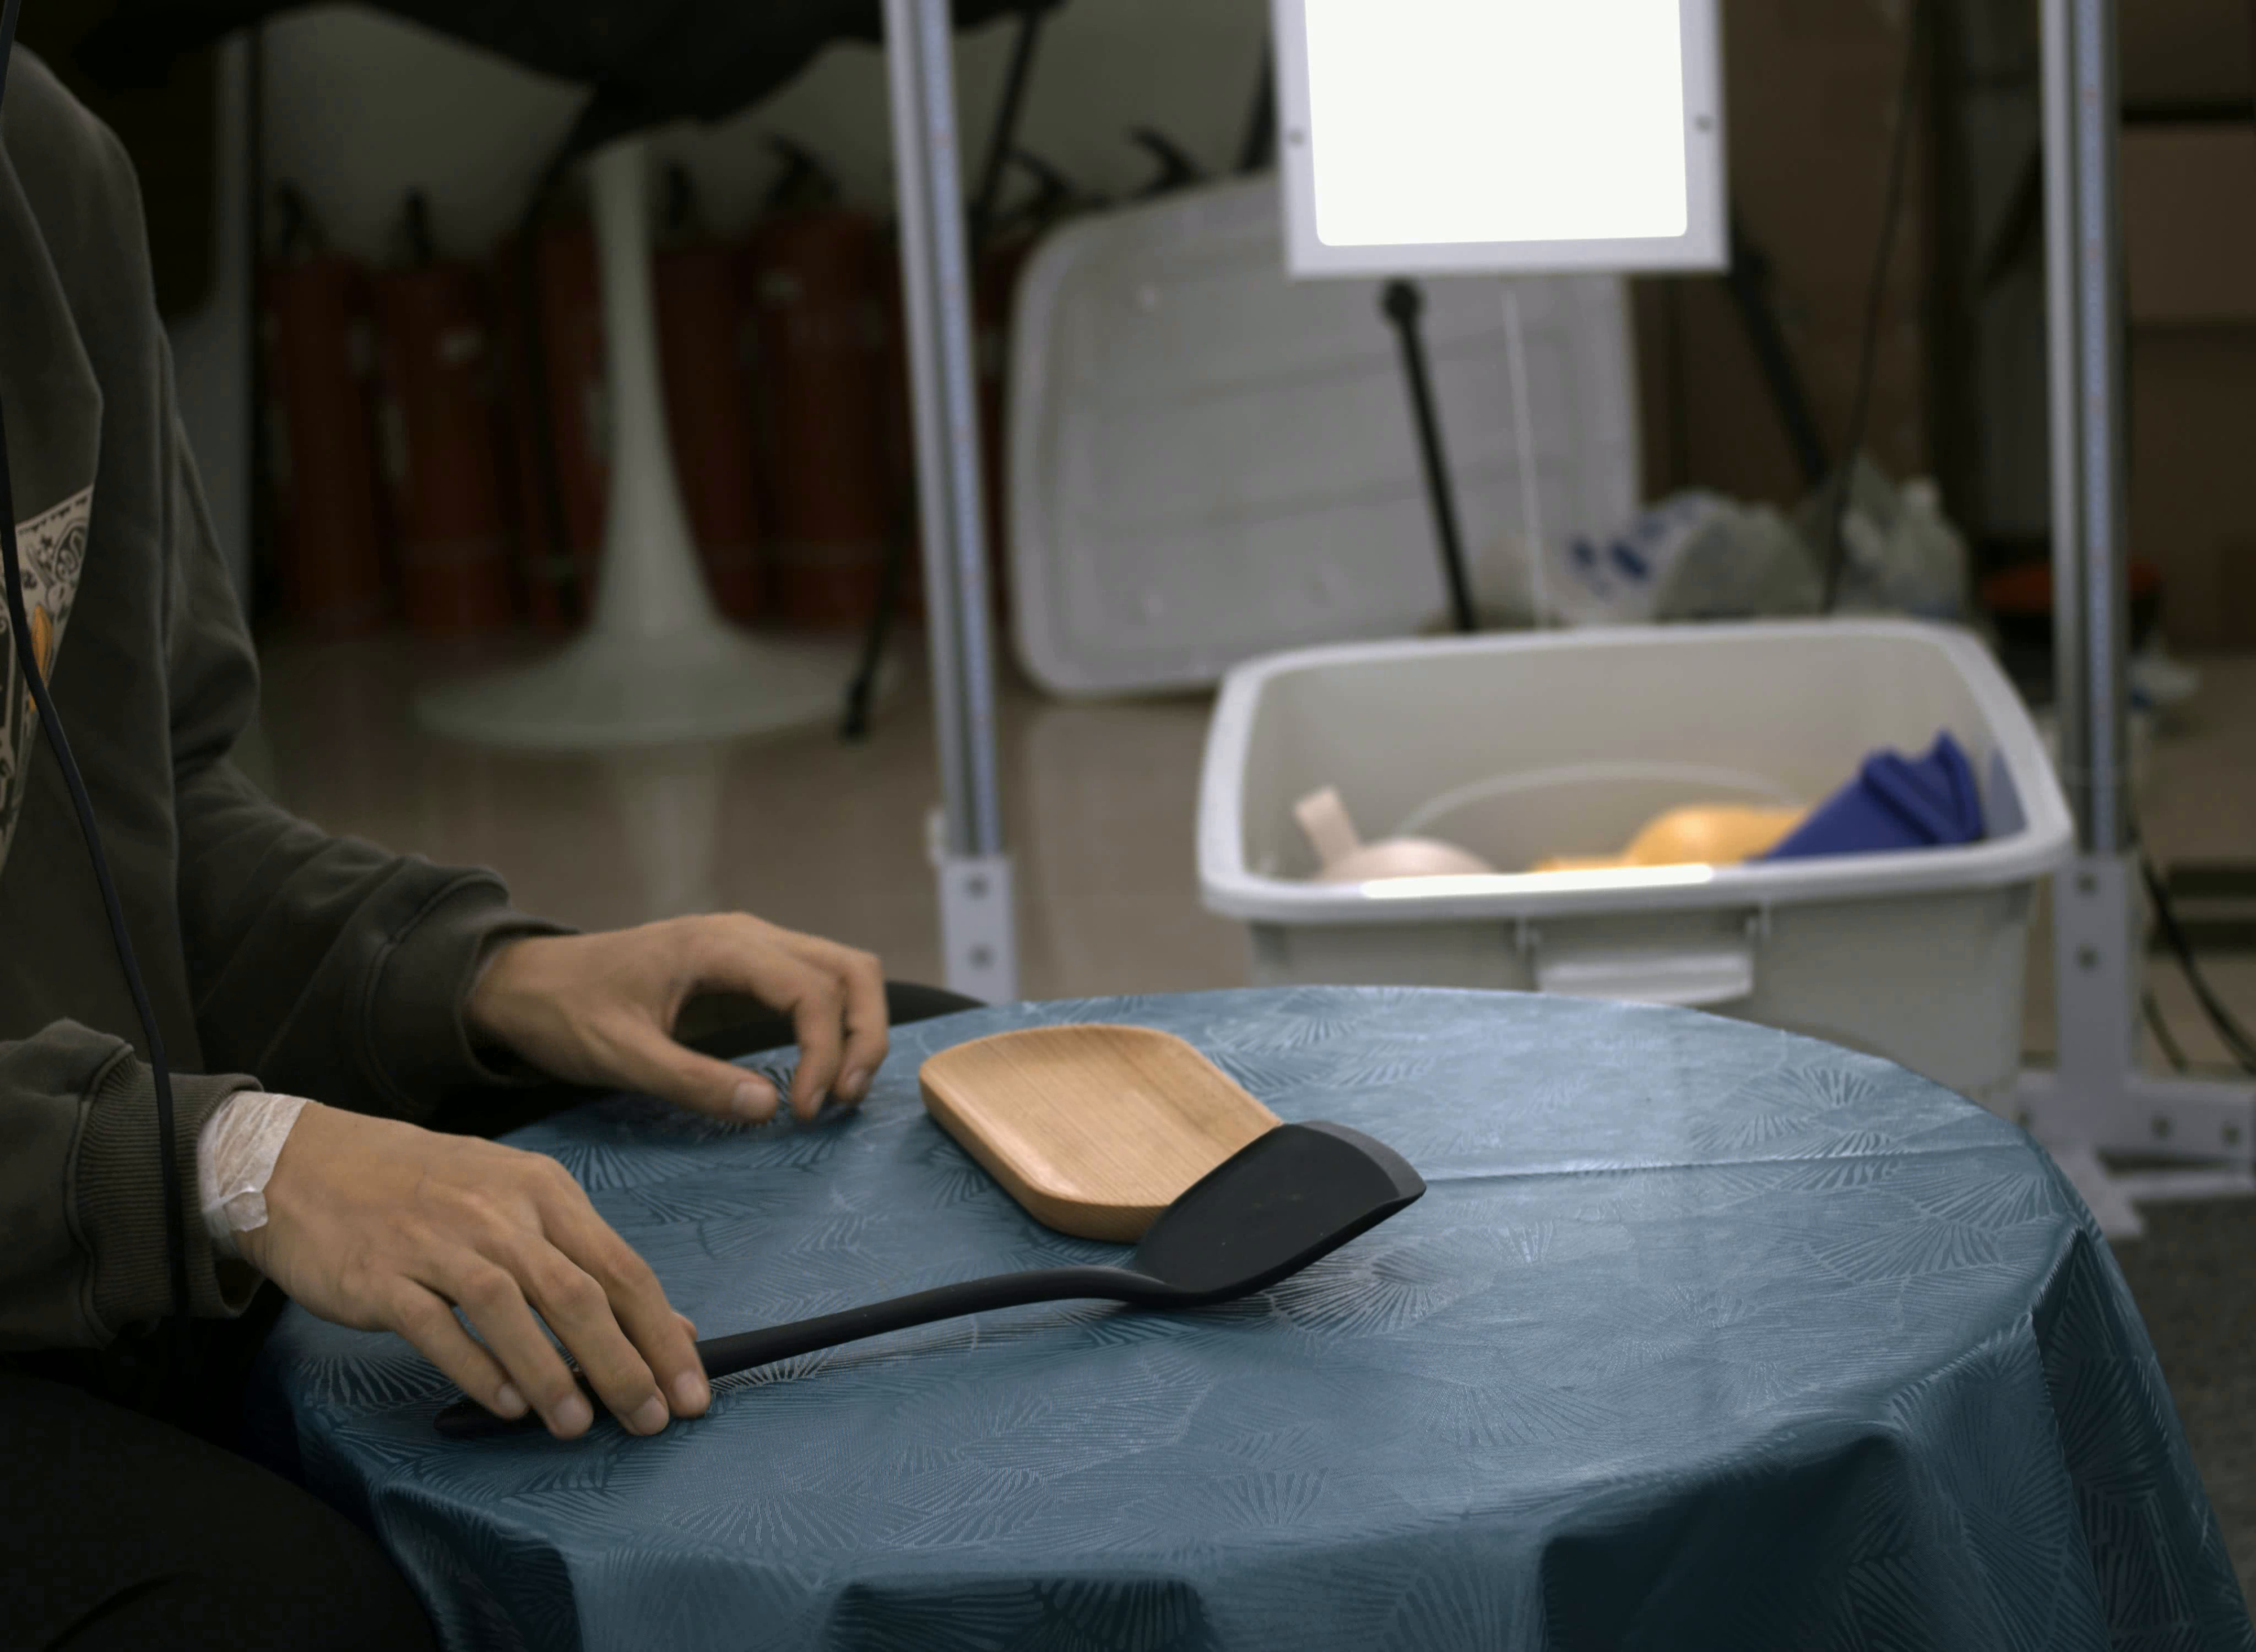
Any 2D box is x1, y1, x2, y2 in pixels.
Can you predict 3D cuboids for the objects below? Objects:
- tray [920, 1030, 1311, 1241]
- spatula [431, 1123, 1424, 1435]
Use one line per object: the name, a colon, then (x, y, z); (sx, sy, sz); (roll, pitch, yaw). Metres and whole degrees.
tray: (-0.006, 0.108, 1.941); (0.100, 0.020, 0.233); (-9, 15, -15)
spatula: (-0.065, 0.148, 1.757); (0.321, 0.040, 0.101); (-9, 13, -17)
